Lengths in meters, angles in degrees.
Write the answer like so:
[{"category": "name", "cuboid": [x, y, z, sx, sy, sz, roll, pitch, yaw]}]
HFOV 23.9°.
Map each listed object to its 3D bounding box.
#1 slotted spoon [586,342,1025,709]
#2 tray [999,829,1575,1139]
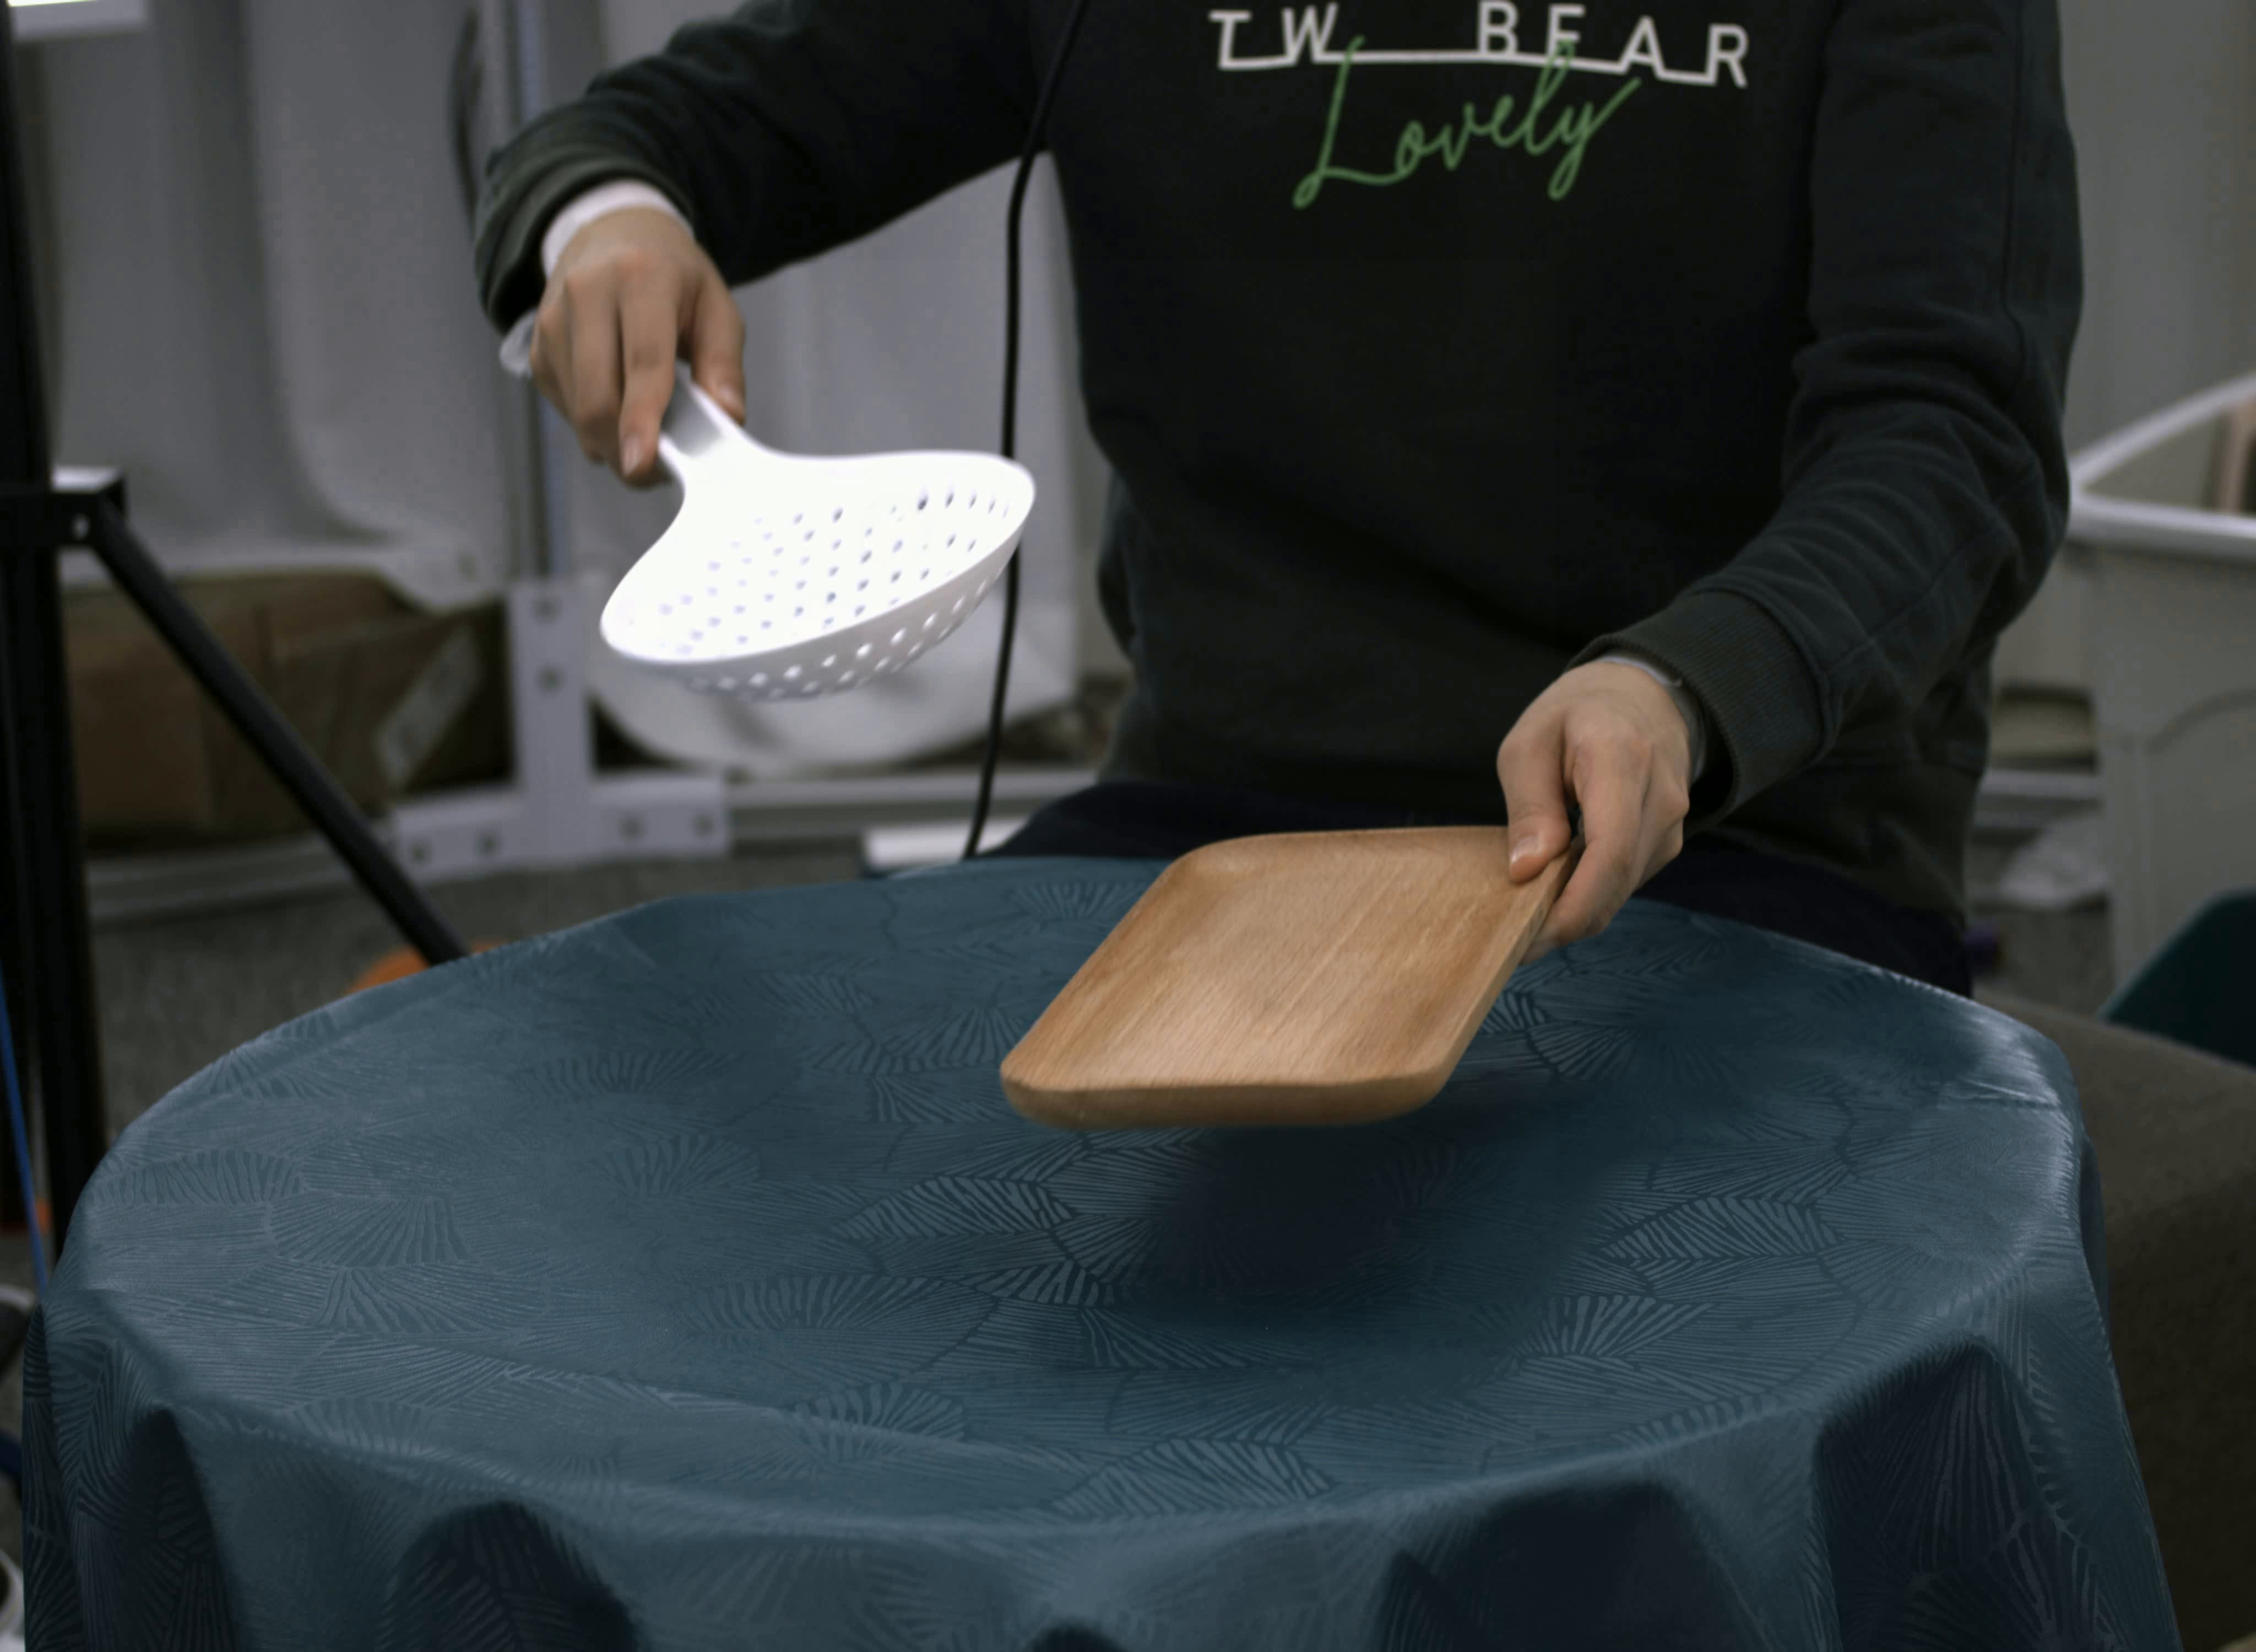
[{"category": "slotted spoon", "cuboid": [-0.126, -0.105, 1.699, 0.135, 0.045, 0.356, -22, 27, -9]}, {"category": "tray", "cuboid": [0.051, 0.044, 1.542, 0.132, 0.023, 0.248, 0, 15, 16]}]
